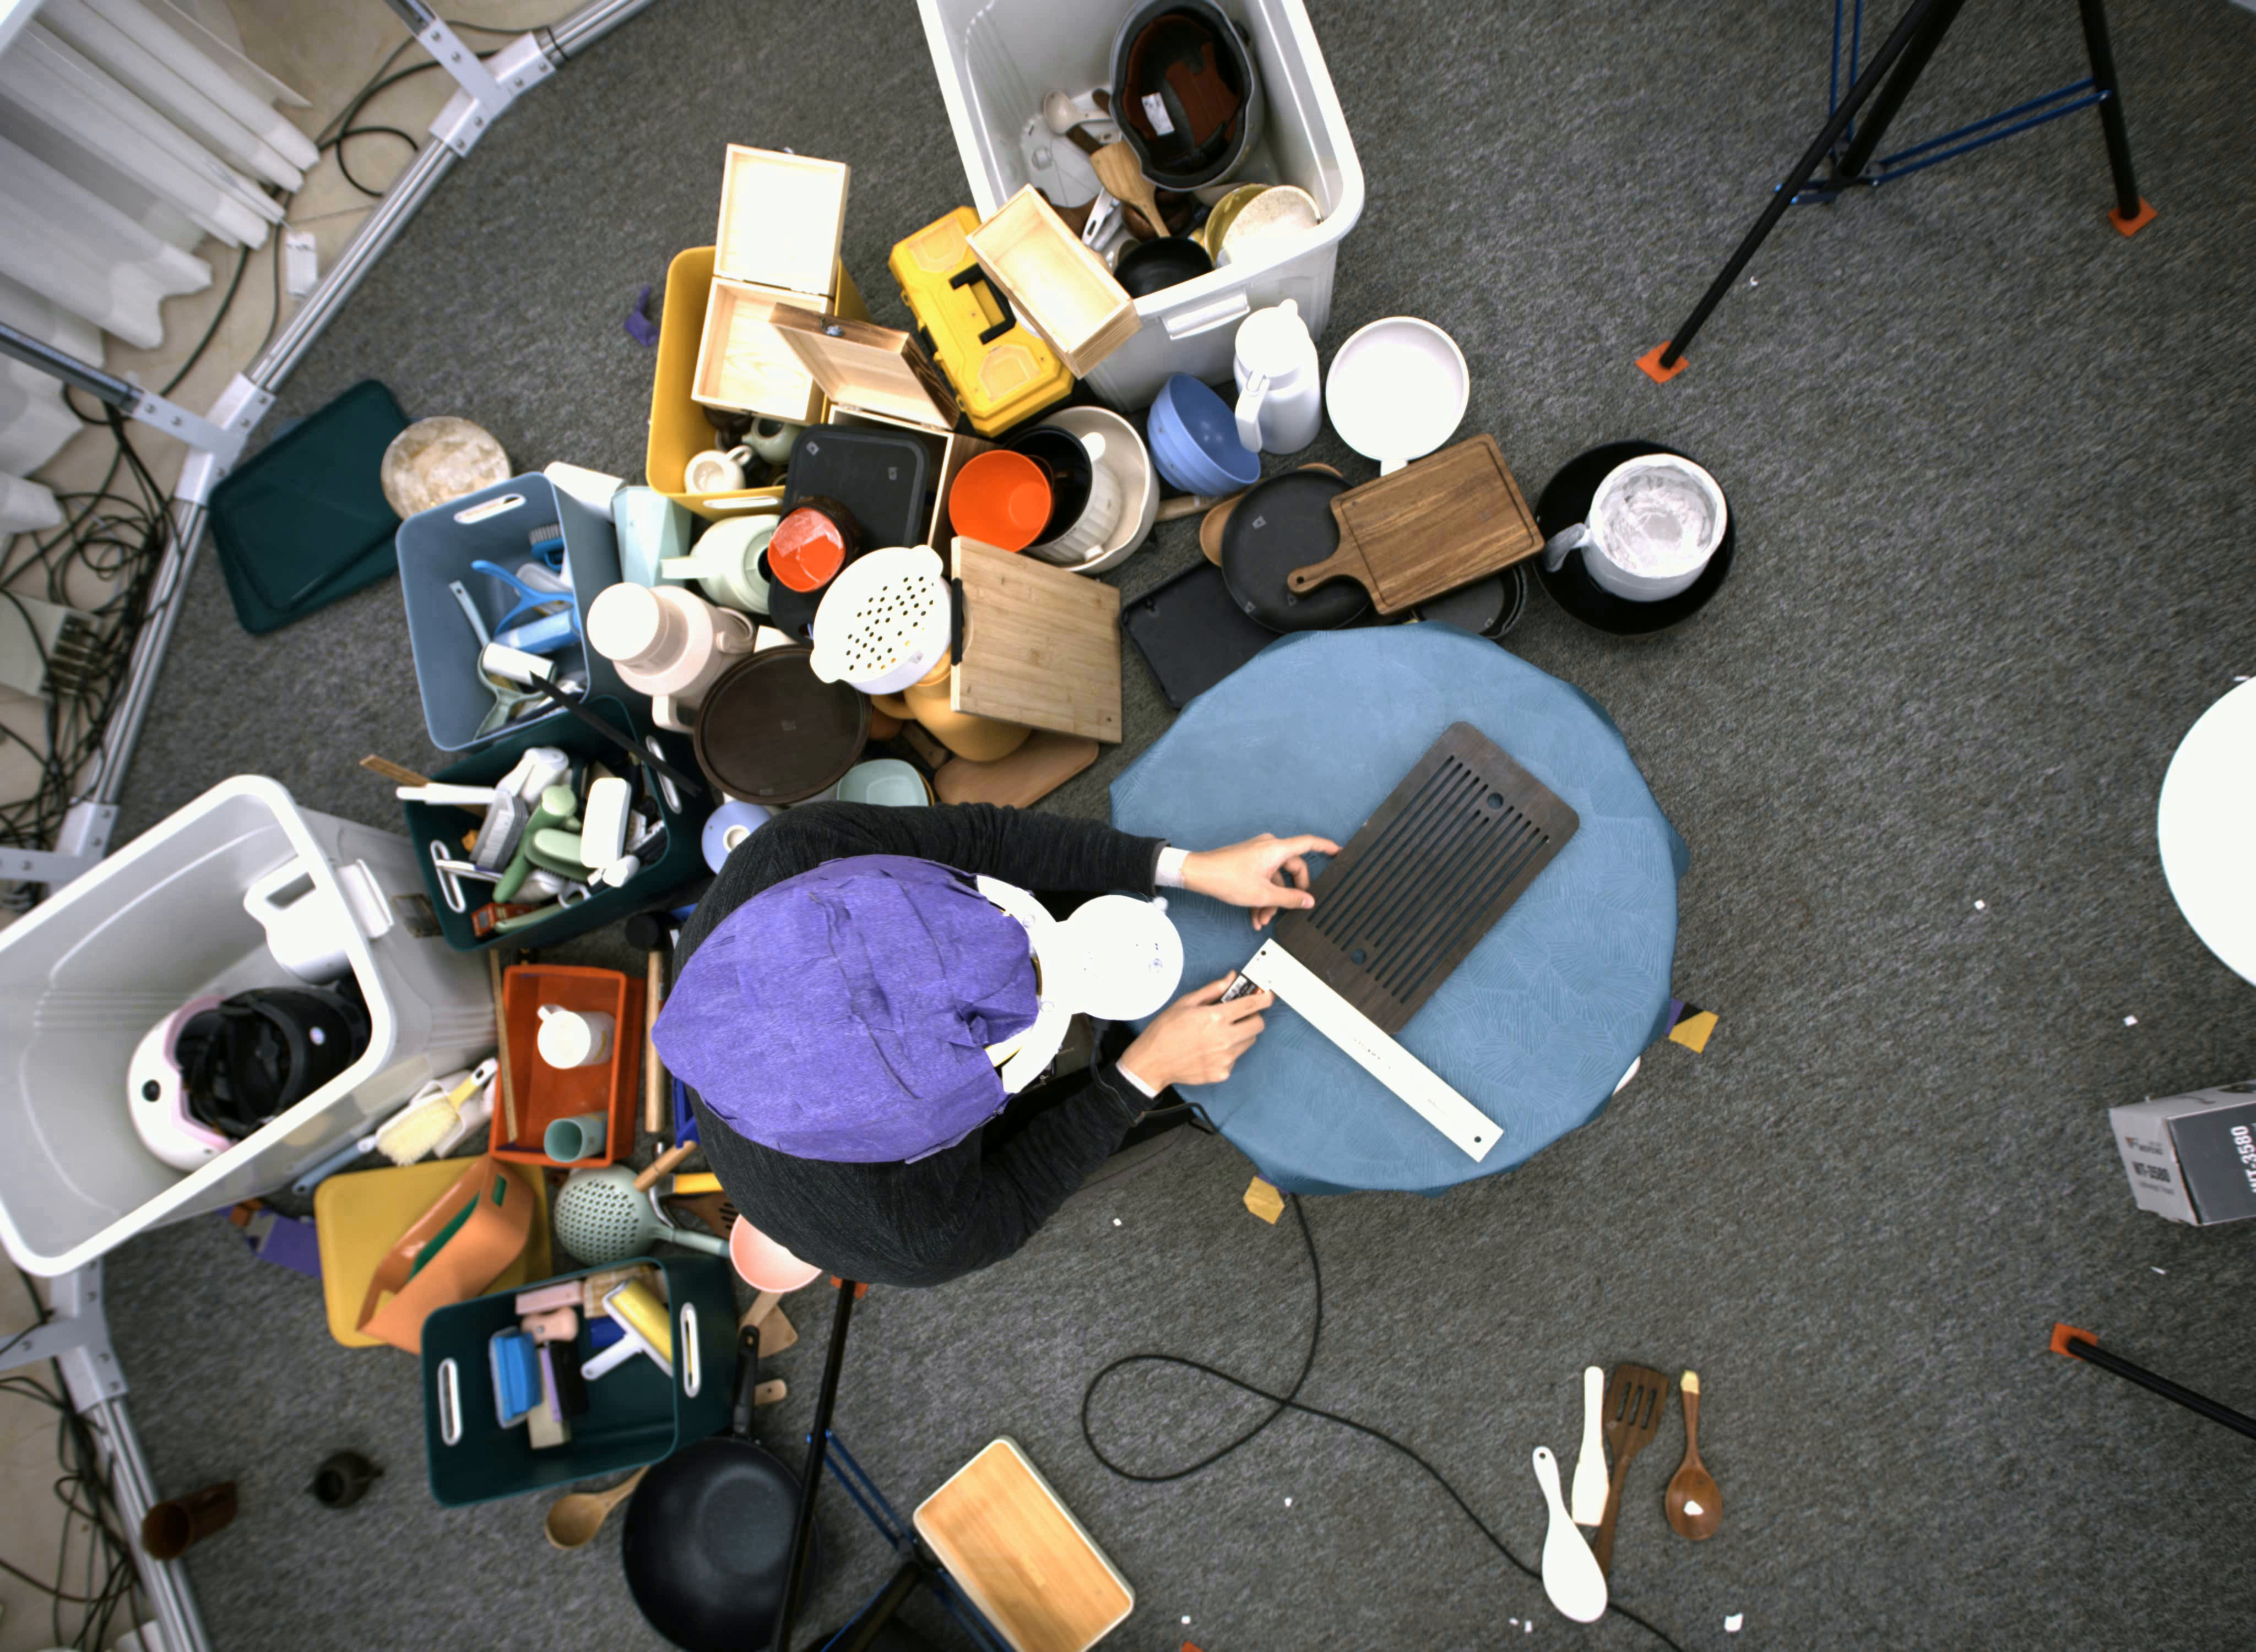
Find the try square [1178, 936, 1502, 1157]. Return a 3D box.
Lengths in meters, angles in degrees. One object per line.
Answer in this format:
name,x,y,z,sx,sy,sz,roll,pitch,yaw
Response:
try square,0.217,0.267,1.441,0.312,0.016,0.153,39,94,9

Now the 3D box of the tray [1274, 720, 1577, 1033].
tray,0.309,0.051,1.443,0.169,0.018,0.307,41,95,8
